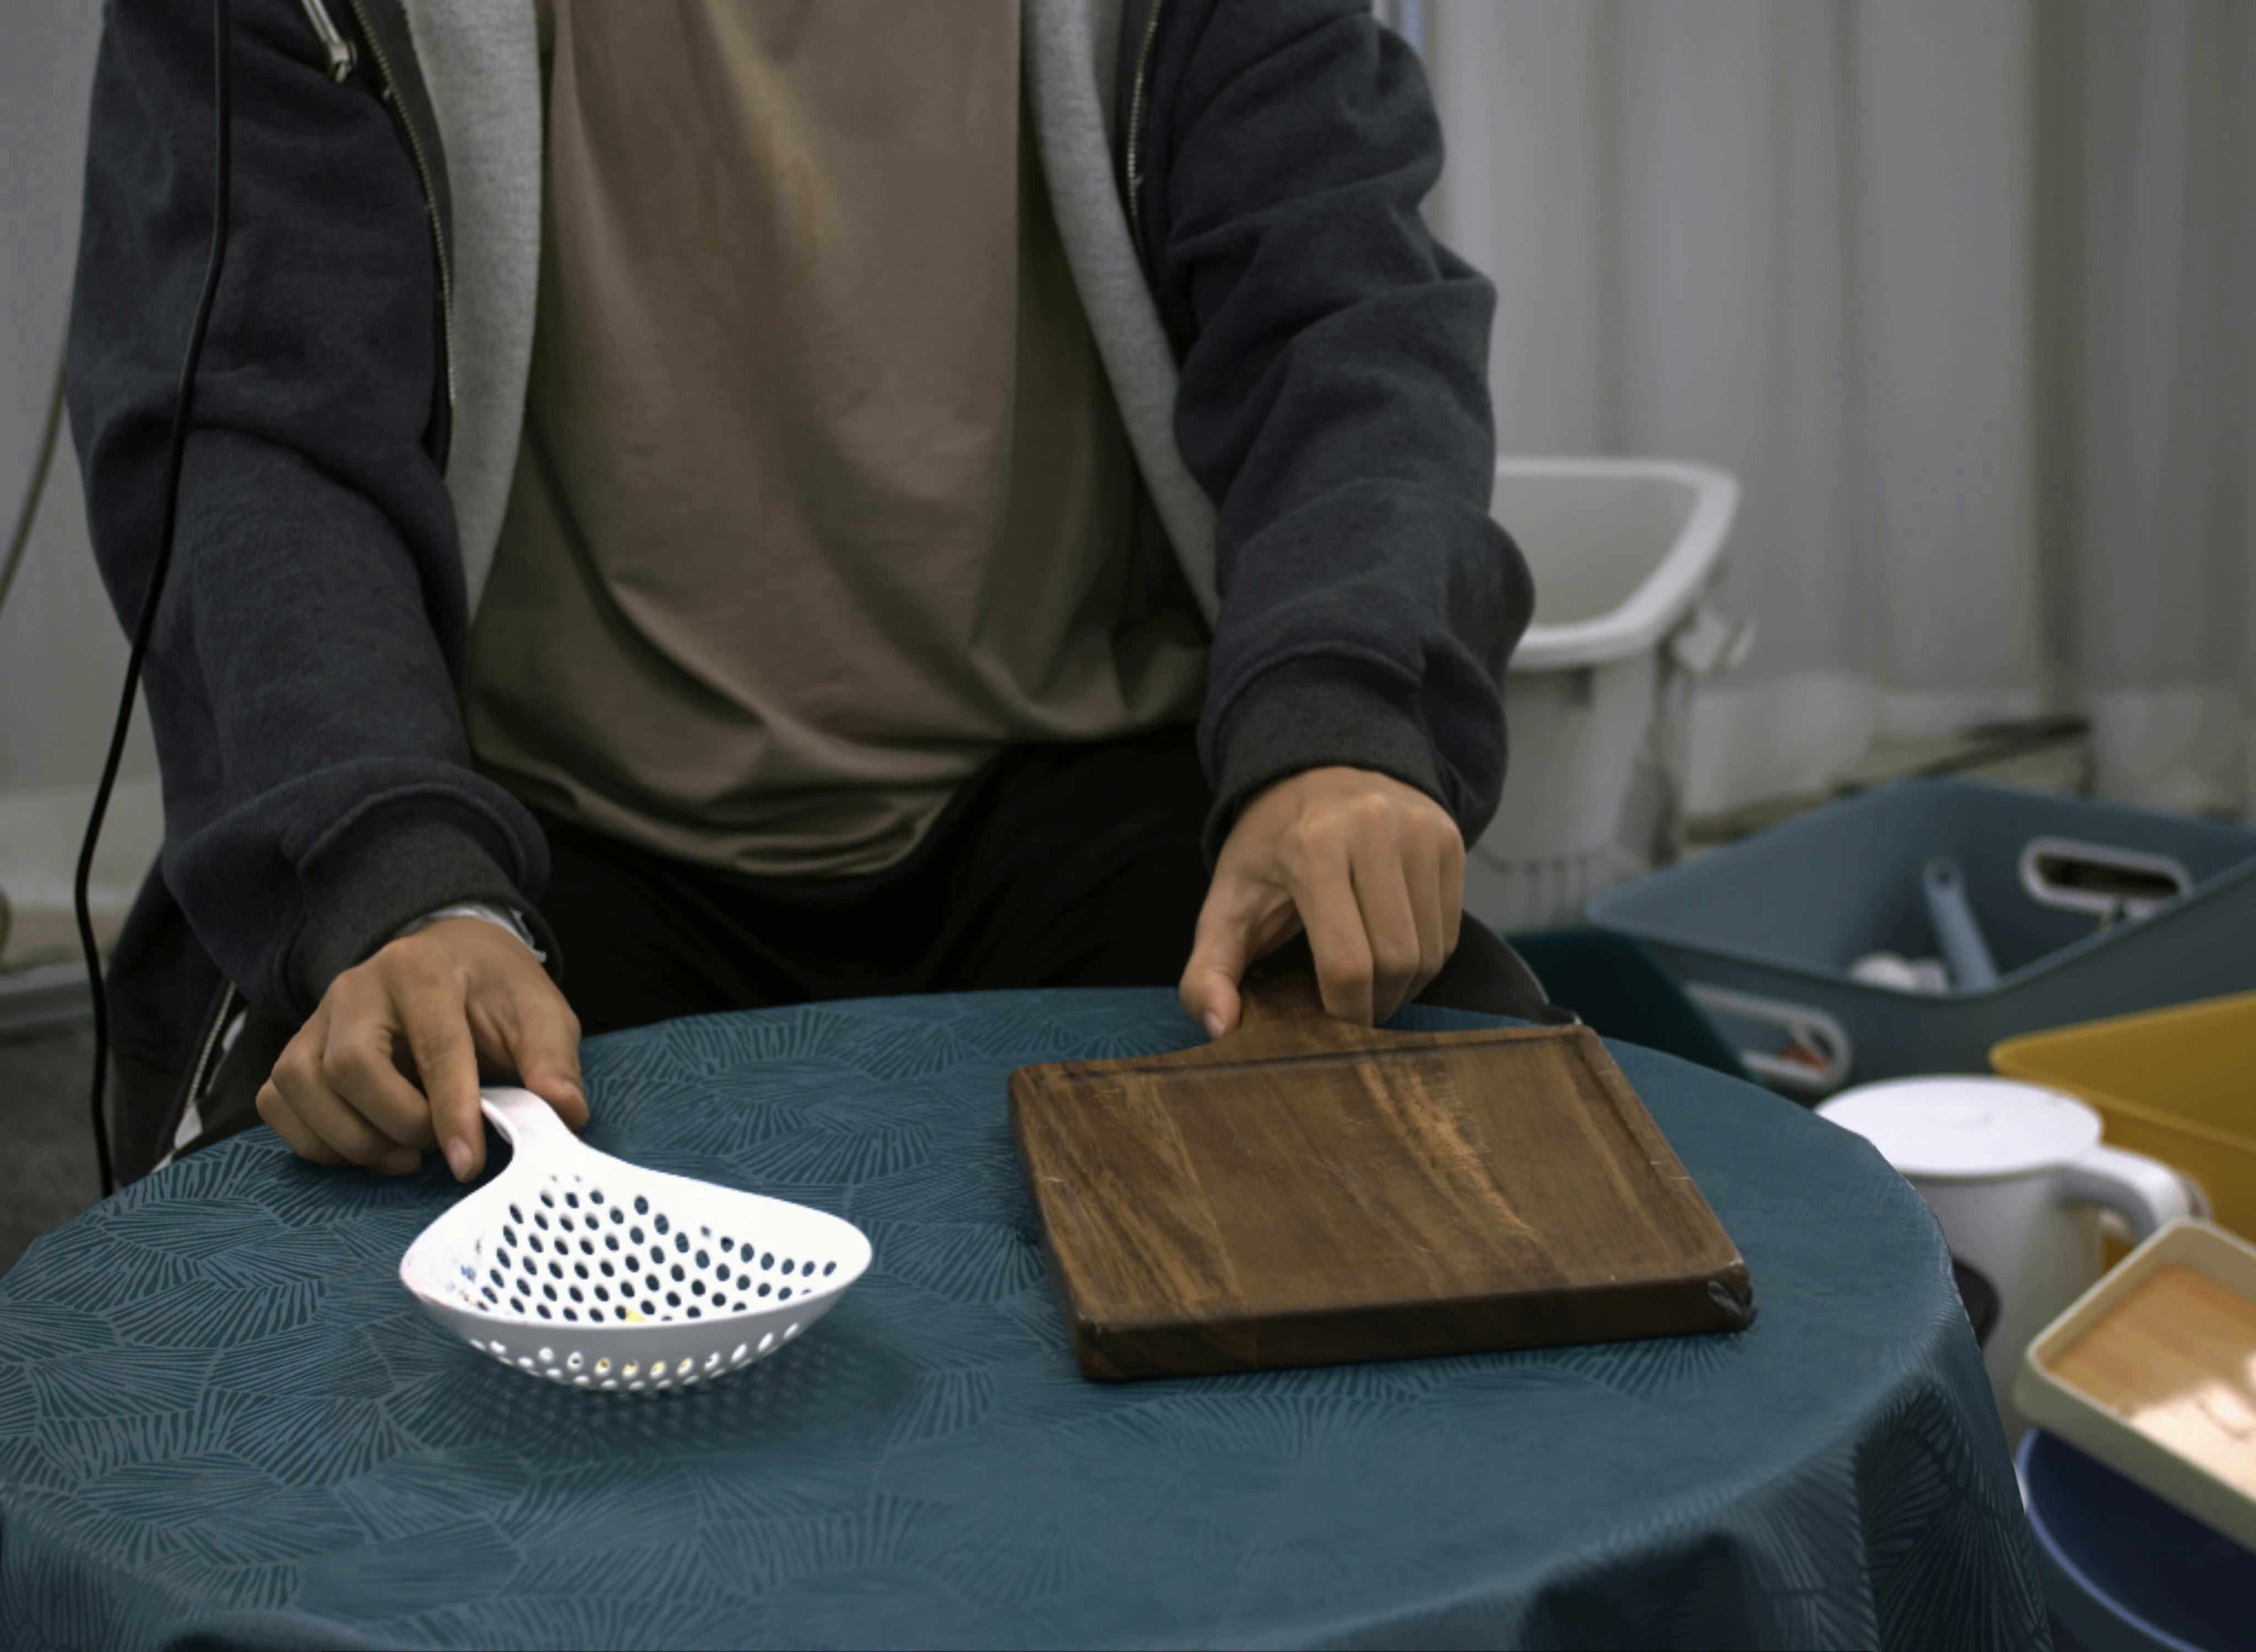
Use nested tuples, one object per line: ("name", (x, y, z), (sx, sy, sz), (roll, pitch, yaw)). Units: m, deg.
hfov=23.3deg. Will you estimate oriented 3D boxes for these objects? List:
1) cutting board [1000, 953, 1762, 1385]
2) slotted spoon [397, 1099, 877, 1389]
("cutting board", (0.065, 0.099, 1.723), (0.200, 0.023, 0.355), (-4, 15, -6))
("slotted spoon", (-0.175, 0.114, 1.673), (0.136, 0.050, 0.351), (-7, 15, -17))
